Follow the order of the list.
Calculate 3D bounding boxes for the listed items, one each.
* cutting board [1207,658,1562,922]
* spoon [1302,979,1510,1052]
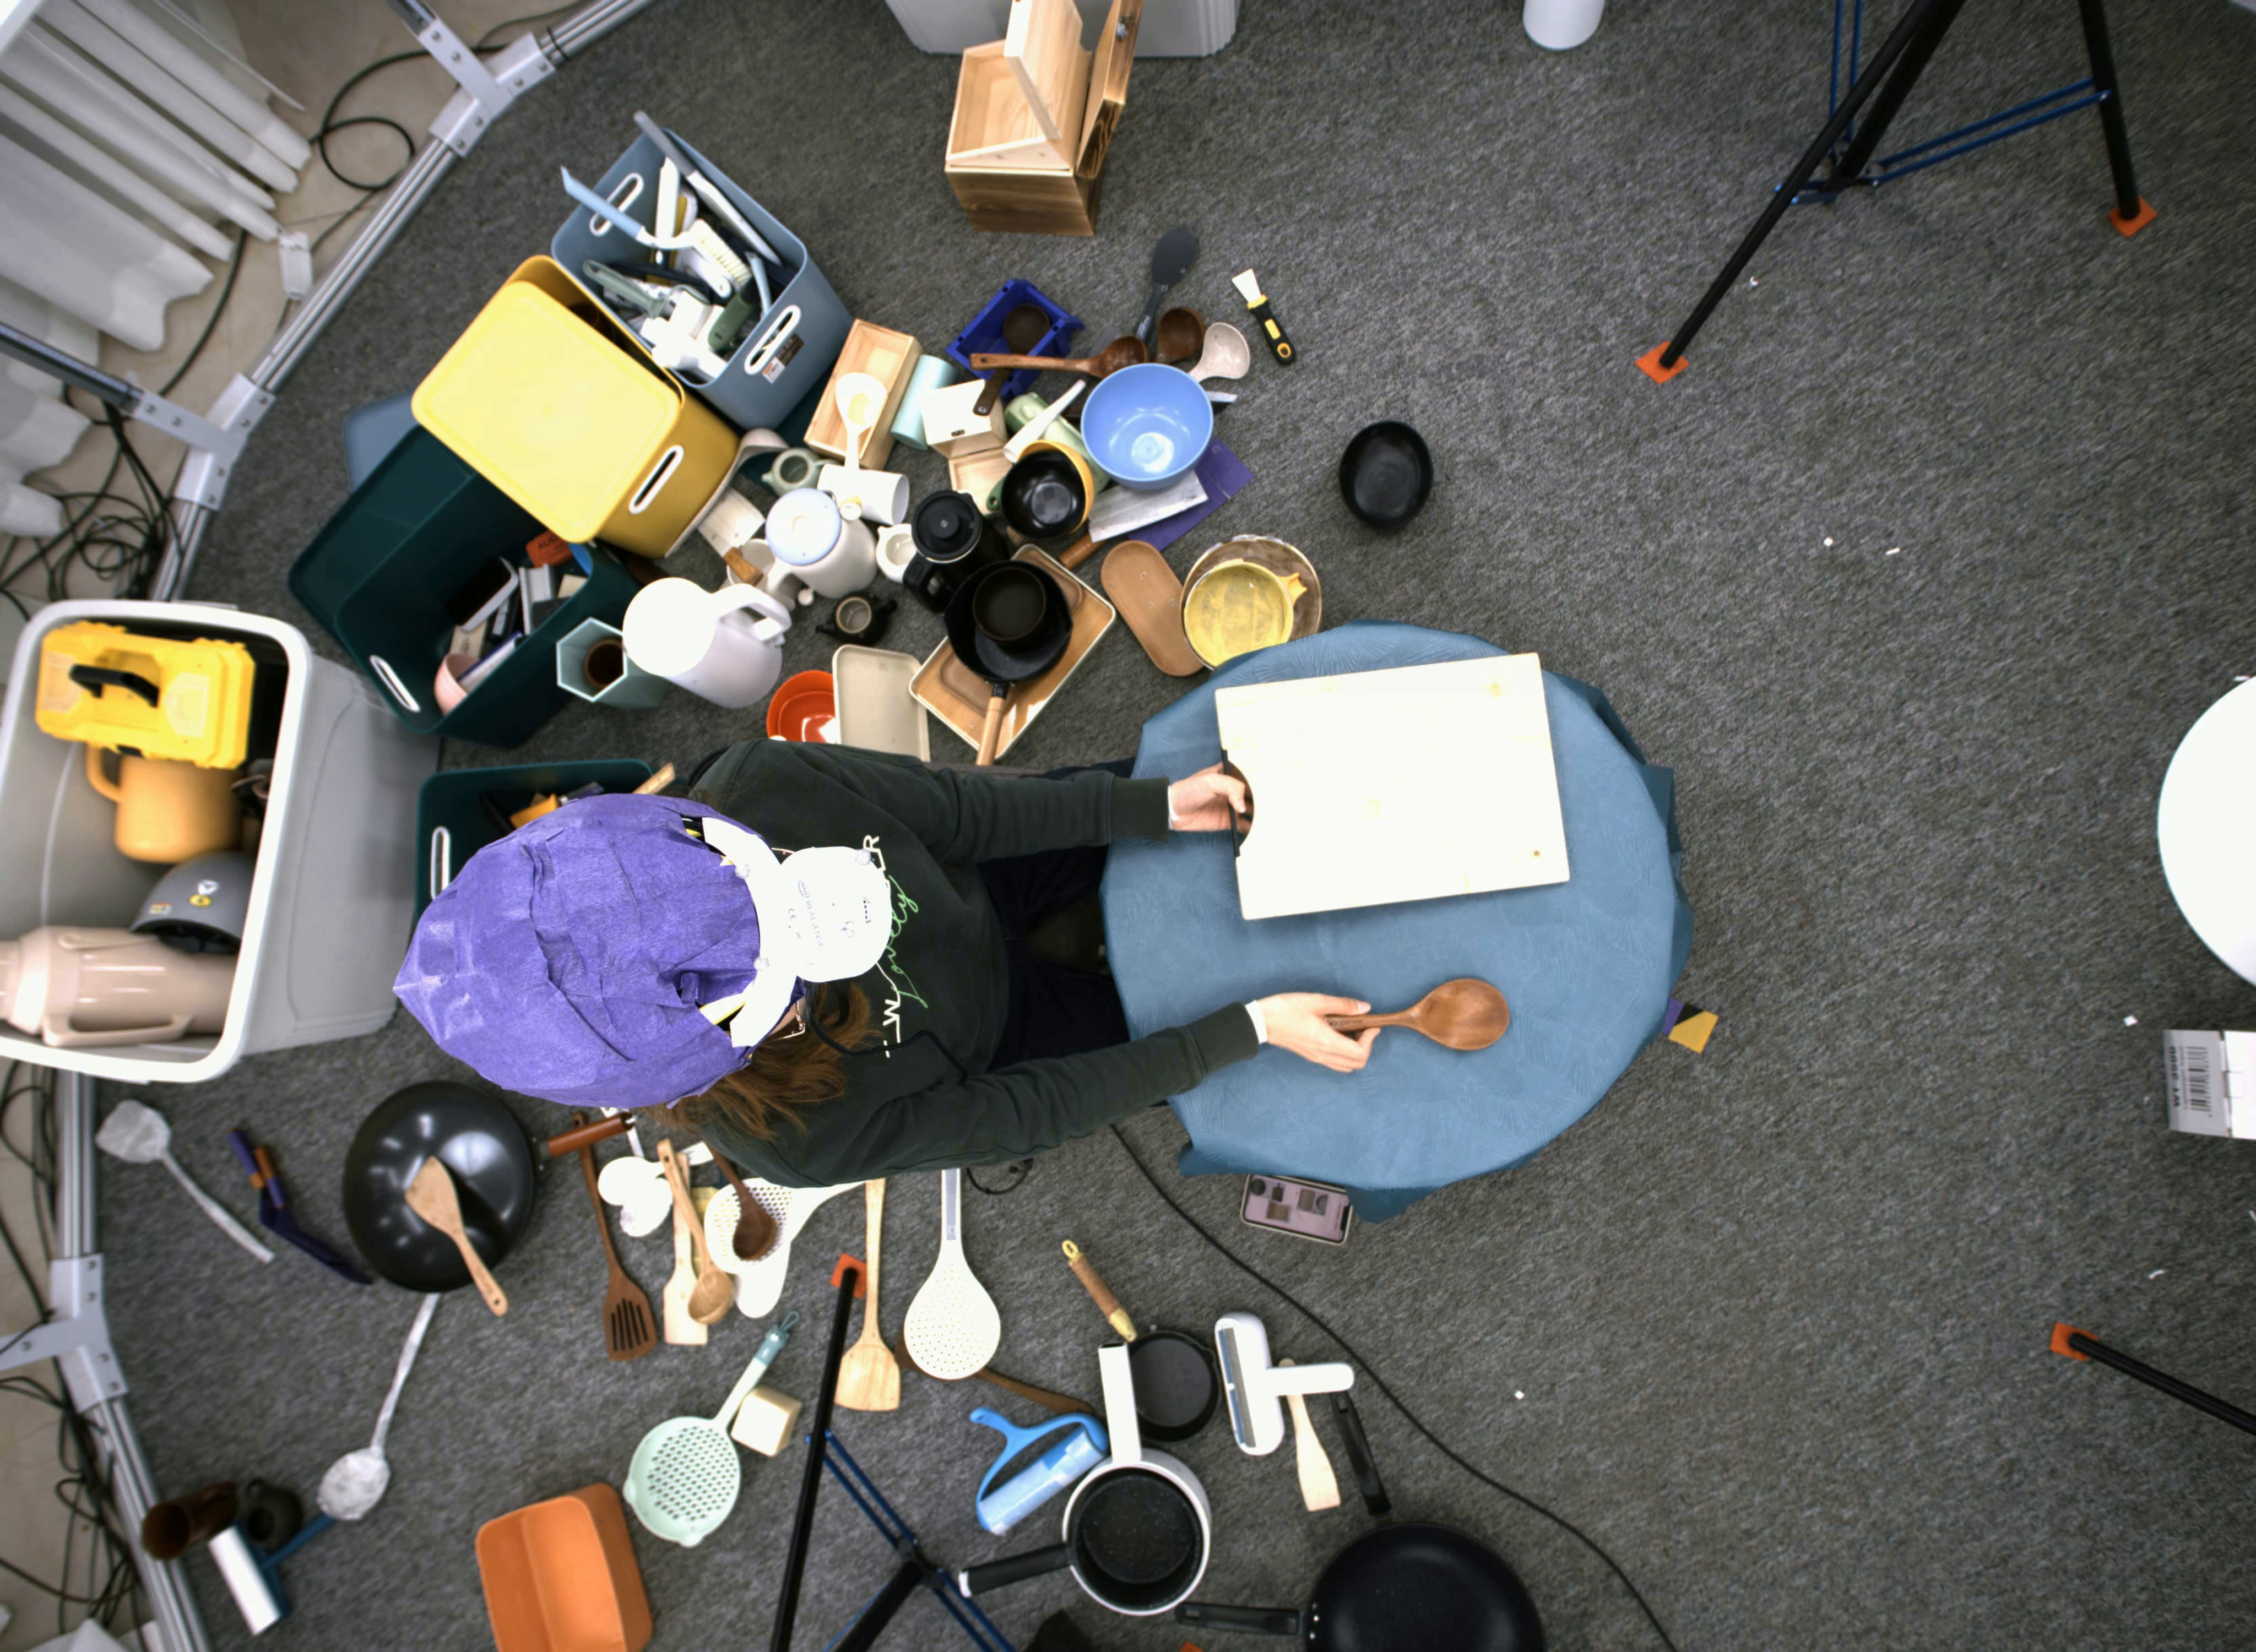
[{"bbox_3d":[0.268,-0.040,1.429,0.349,0.023,0.250,-8,87,0],"label":"cutting board"},{"bbox_3d":[0.287,0.199,1.429,0.216,0.017,0.075,-4,83,-1],"label":"spoon"}]
